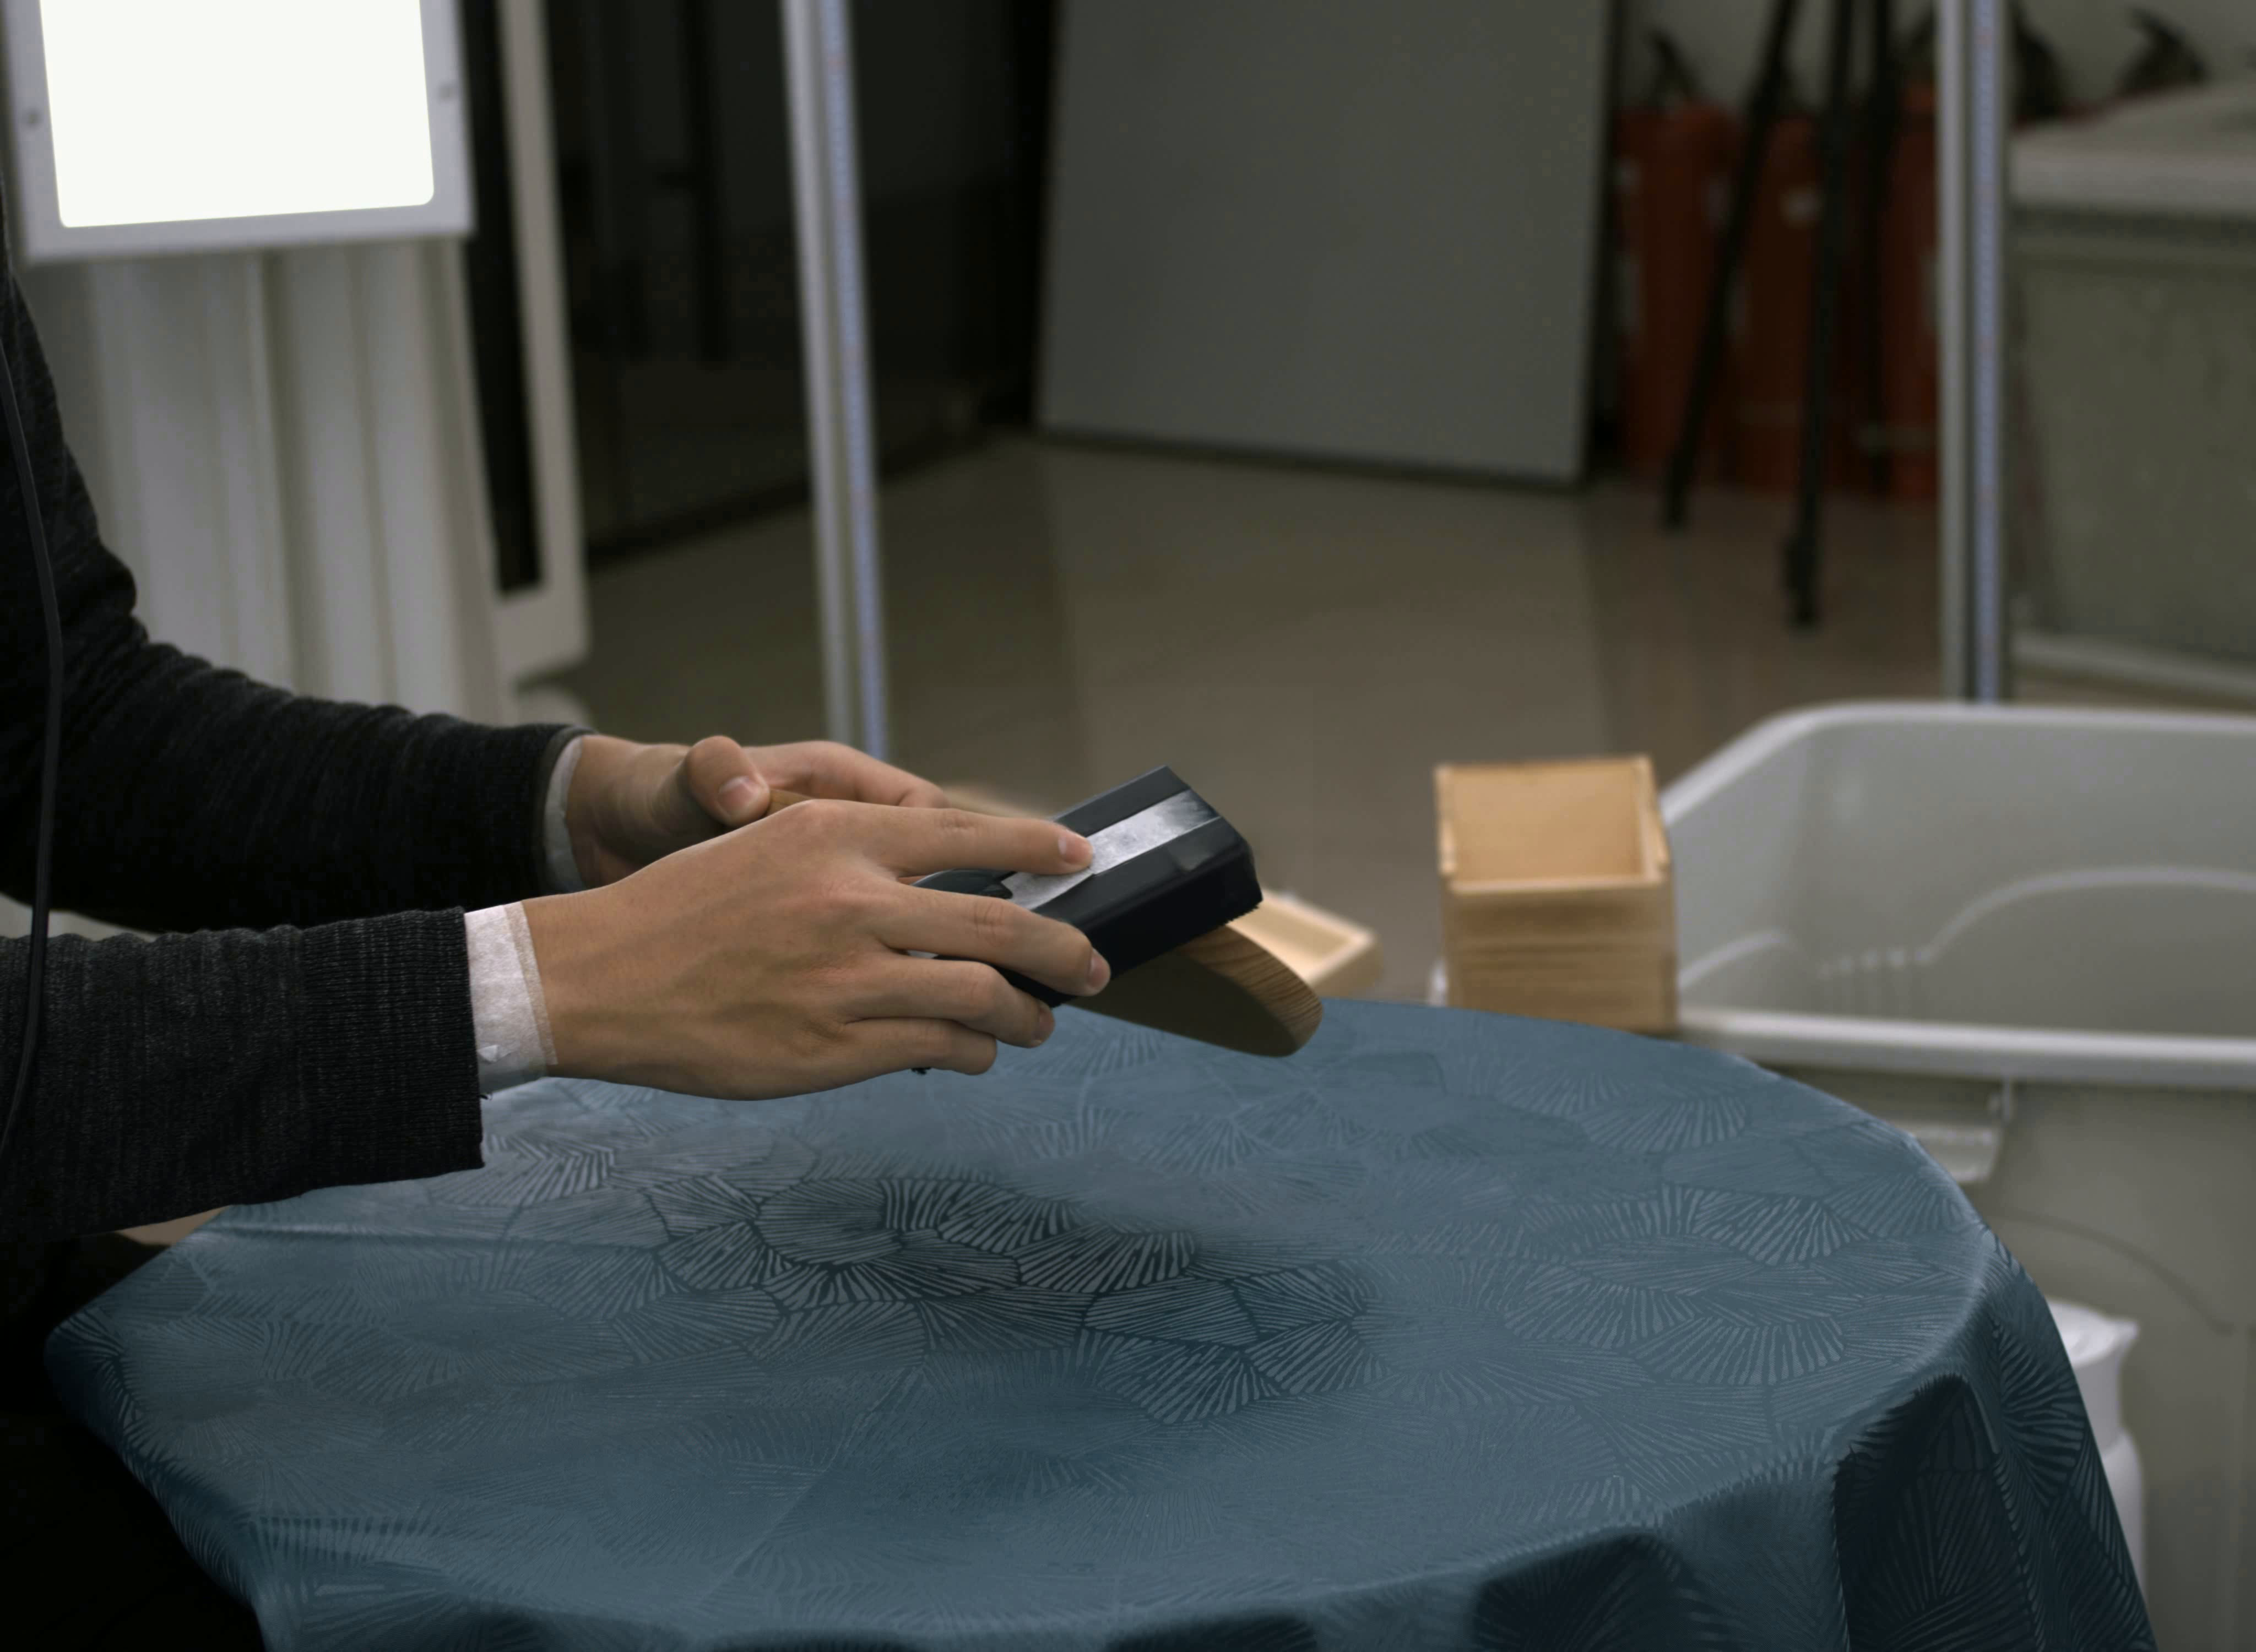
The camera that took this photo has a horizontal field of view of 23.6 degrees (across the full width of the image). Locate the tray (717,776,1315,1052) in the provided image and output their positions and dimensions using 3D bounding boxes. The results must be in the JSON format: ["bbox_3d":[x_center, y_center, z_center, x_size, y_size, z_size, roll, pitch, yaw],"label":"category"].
[{"bbox_3d":[-0.039,0.029,1.728,0.233,0.100,0.020,12,65,38],"label":"tray"}]

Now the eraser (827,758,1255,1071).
[{"bbox_3d":[-0.025,0.025,1.615,0.123,0.030,0.054,-28,42,-20],"label":"eraser"}]
